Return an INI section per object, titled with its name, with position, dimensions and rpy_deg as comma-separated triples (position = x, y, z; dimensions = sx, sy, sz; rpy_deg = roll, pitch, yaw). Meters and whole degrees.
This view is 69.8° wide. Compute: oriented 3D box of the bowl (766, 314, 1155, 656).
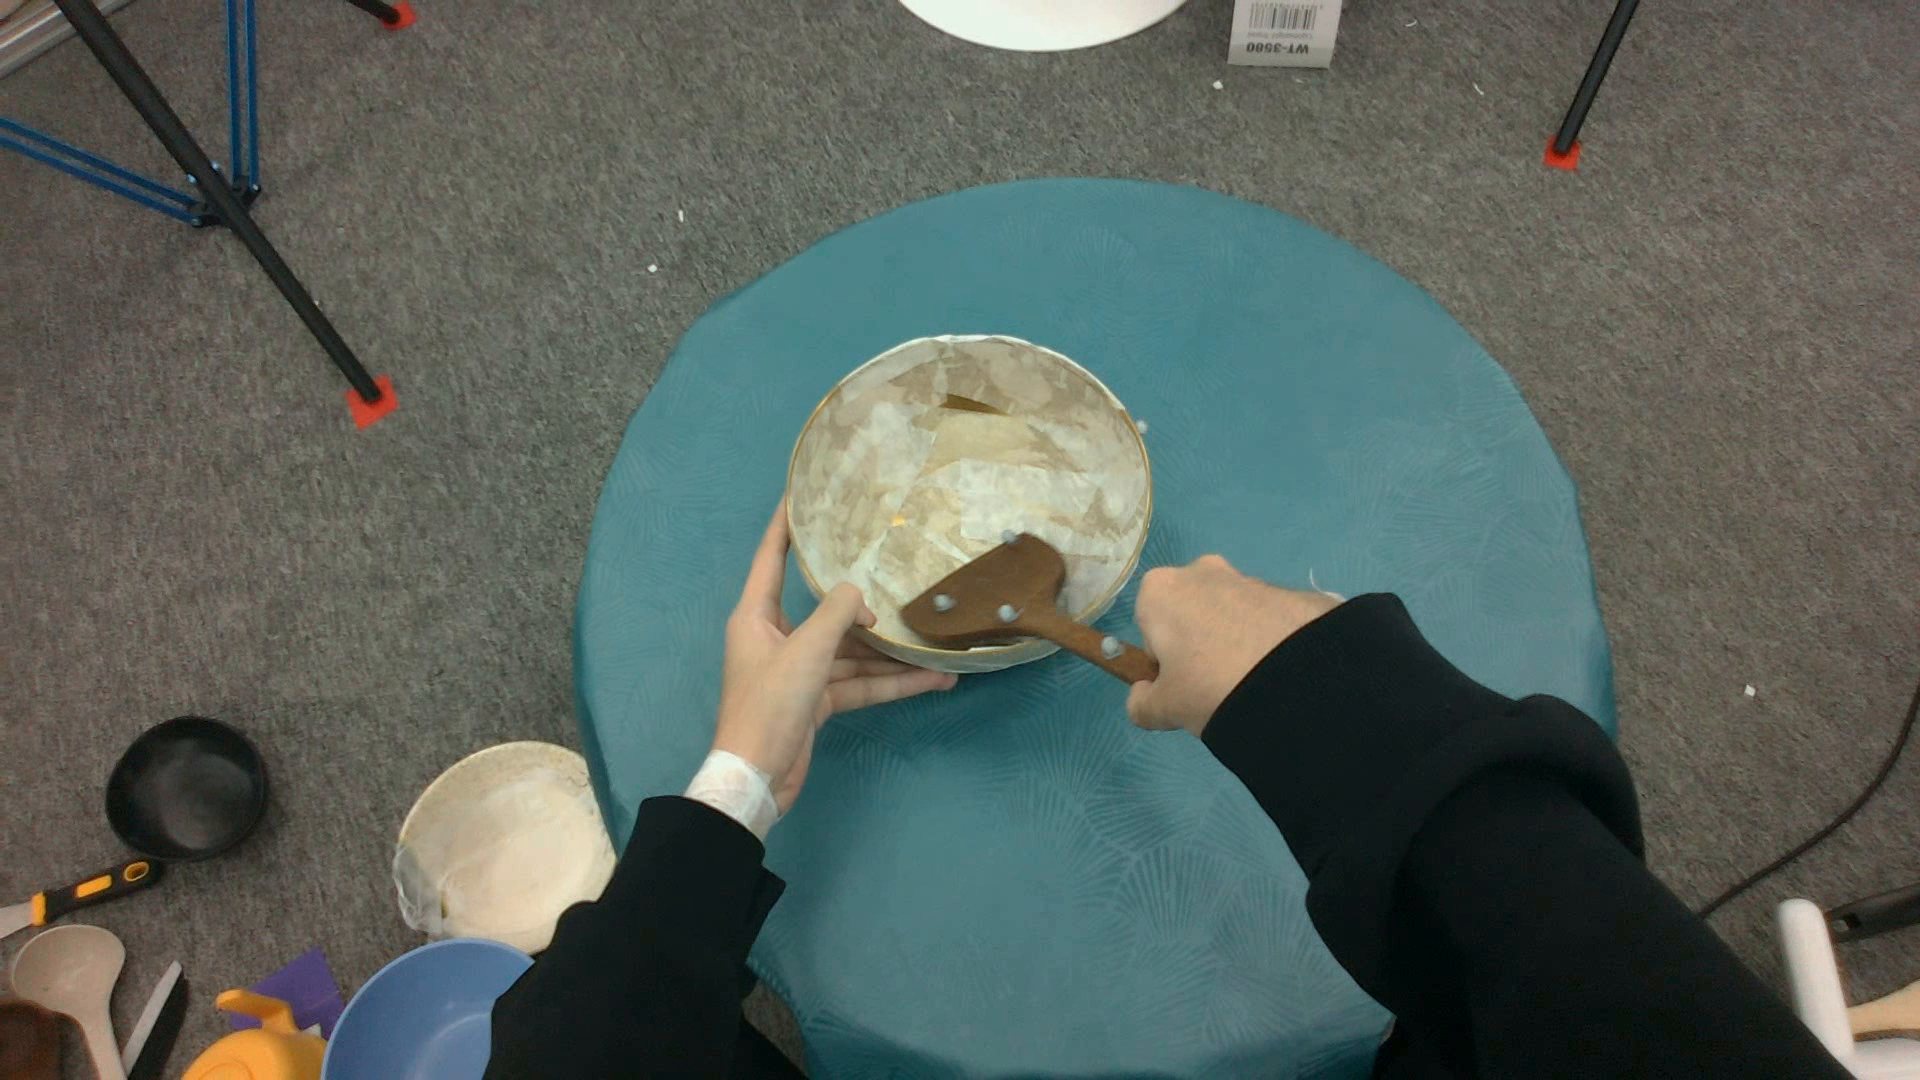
[bowl]
position = -0.002, -0.017, 0.777
dimensions = 0.215, 0.094, 0.215
rpy_deg = 1, 63, -1

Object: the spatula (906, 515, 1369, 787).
[spatula]
position = 0.067, 0.043, 0.637
dimensions = 0.096, 0.386, 0.016
rpy_deg = -32, 108, -12
